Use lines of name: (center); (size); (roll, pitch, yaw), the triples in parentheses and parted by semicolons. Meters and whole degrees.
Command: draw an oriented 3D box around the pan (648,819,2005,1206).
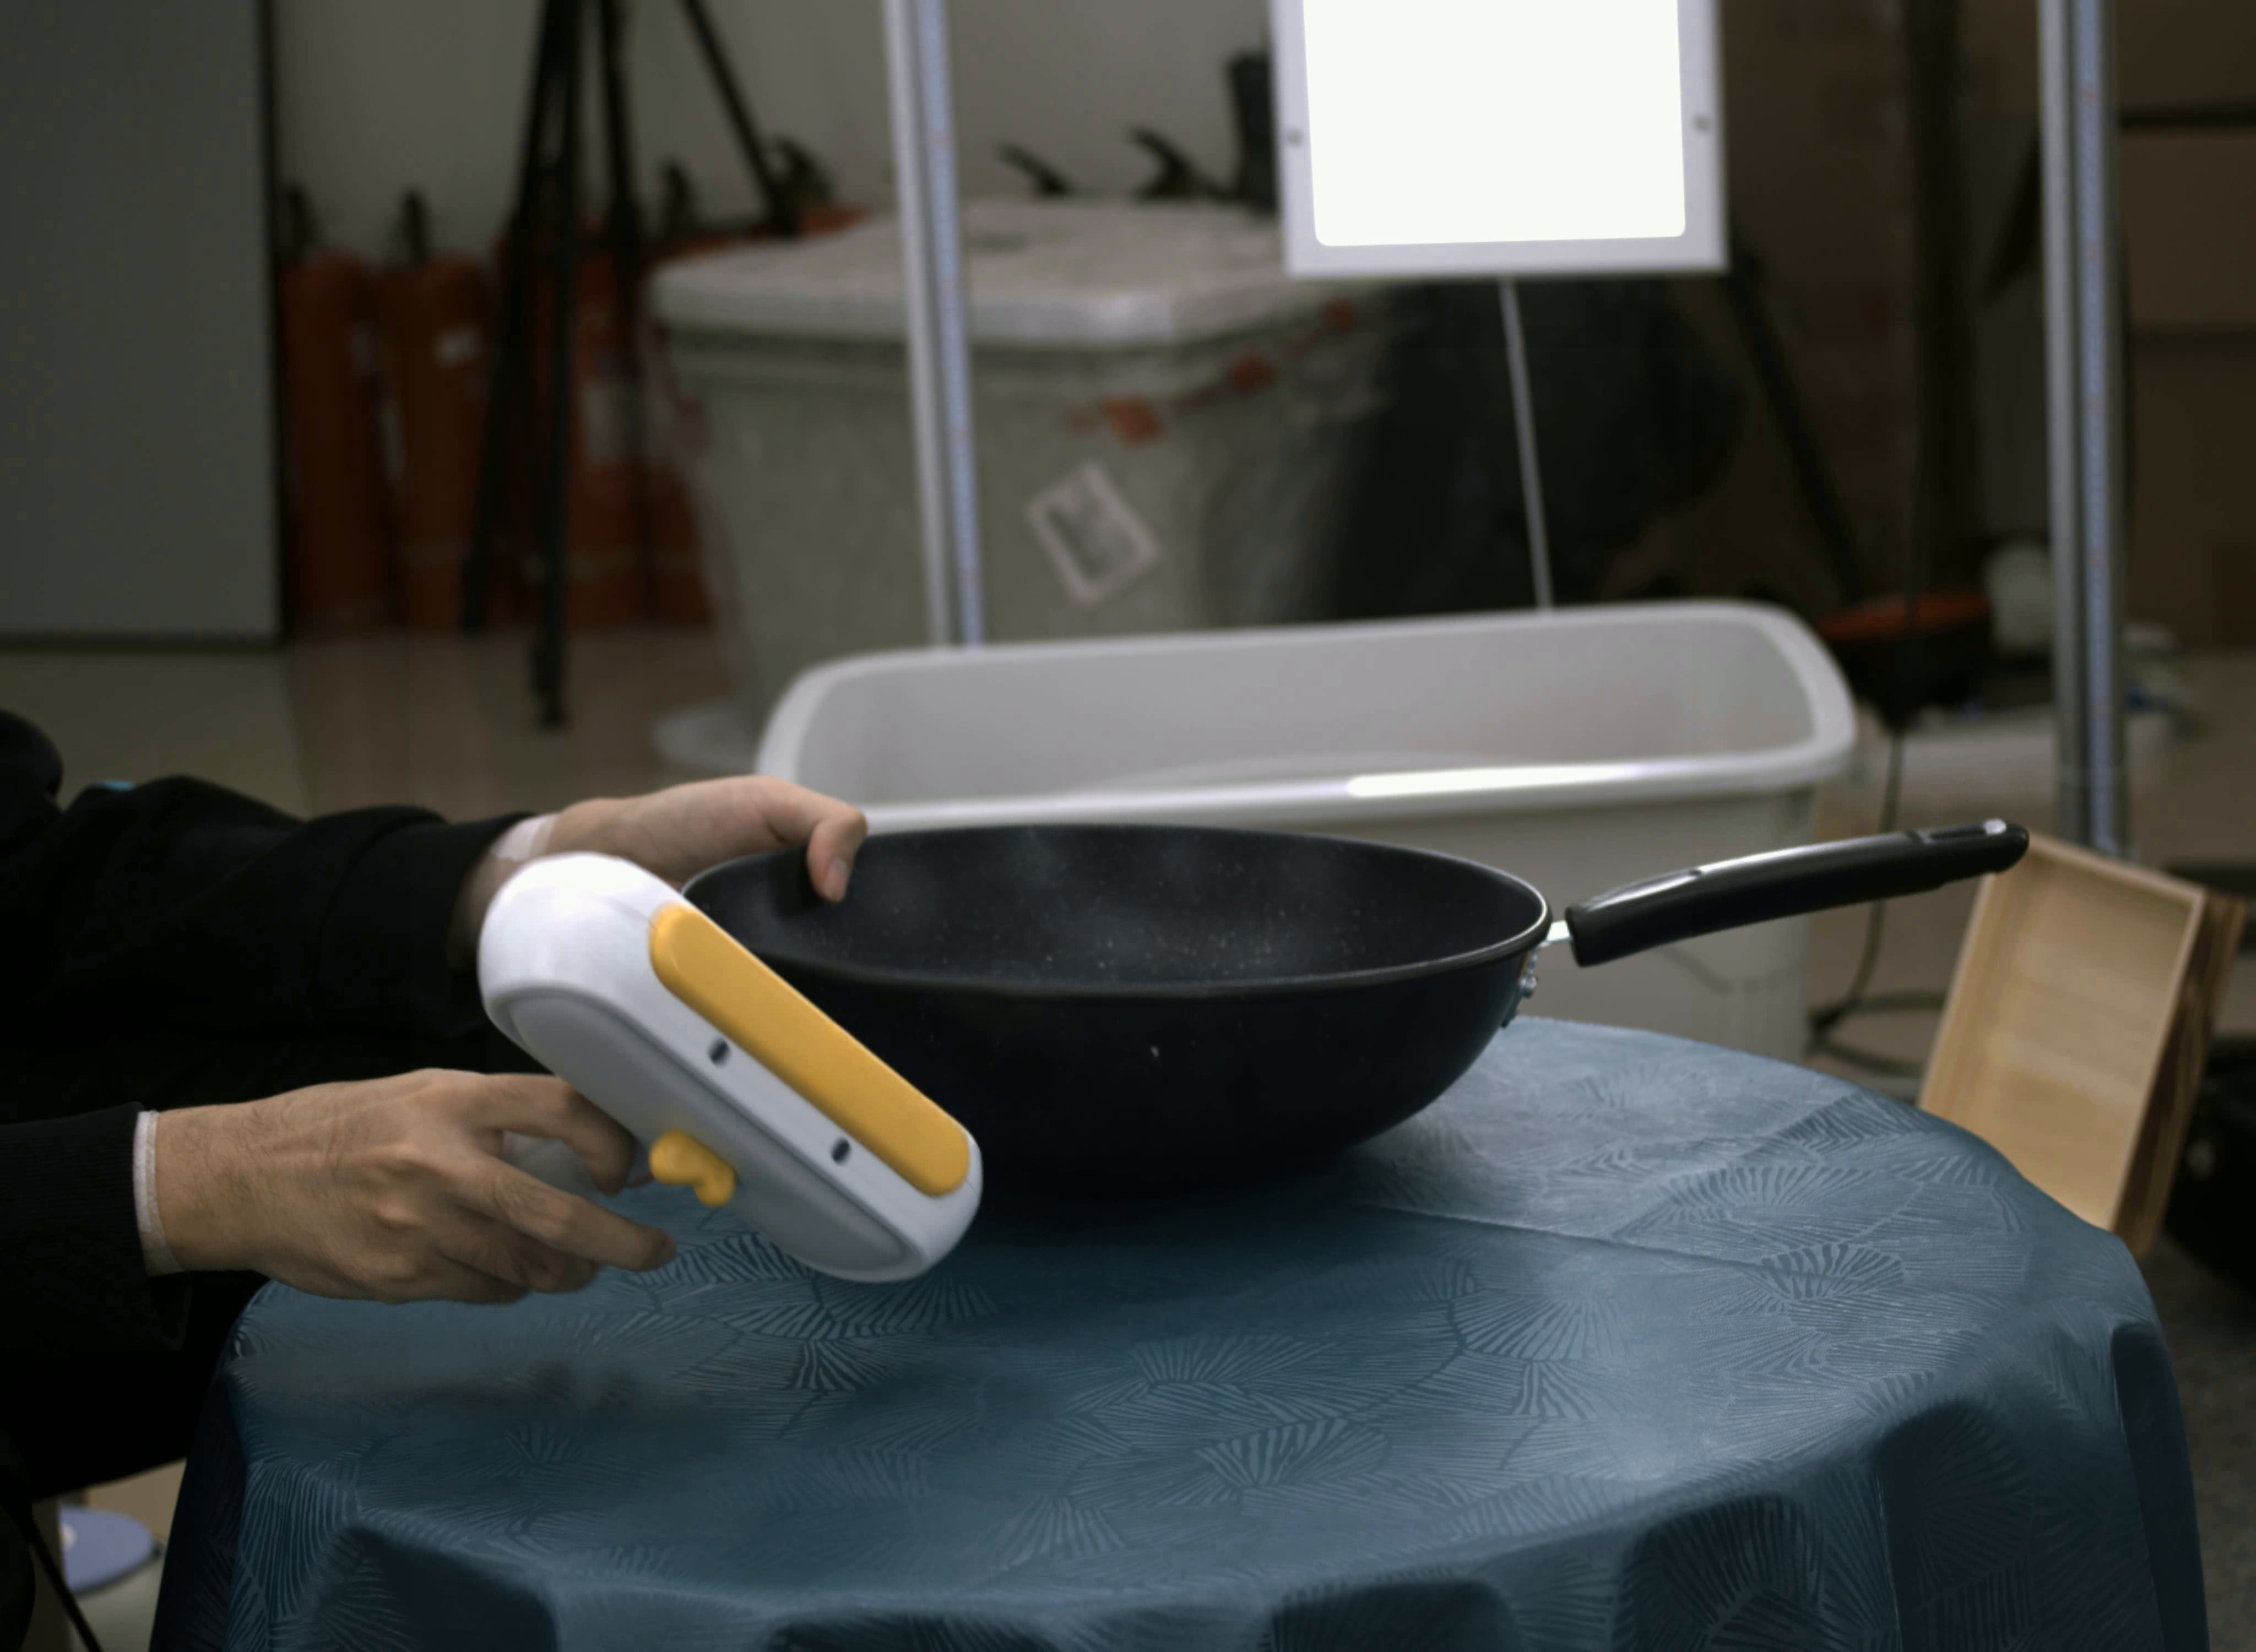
pan: (0.071, 0.057, 1.924); (0.476, 0.112, 0.309); (-1, 12, 0)

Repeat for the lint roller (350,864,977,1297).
lint roller: (-0.168, 0.097, 1.723); (0.197, 0.074, 0.189); (-20, -42, 40)
